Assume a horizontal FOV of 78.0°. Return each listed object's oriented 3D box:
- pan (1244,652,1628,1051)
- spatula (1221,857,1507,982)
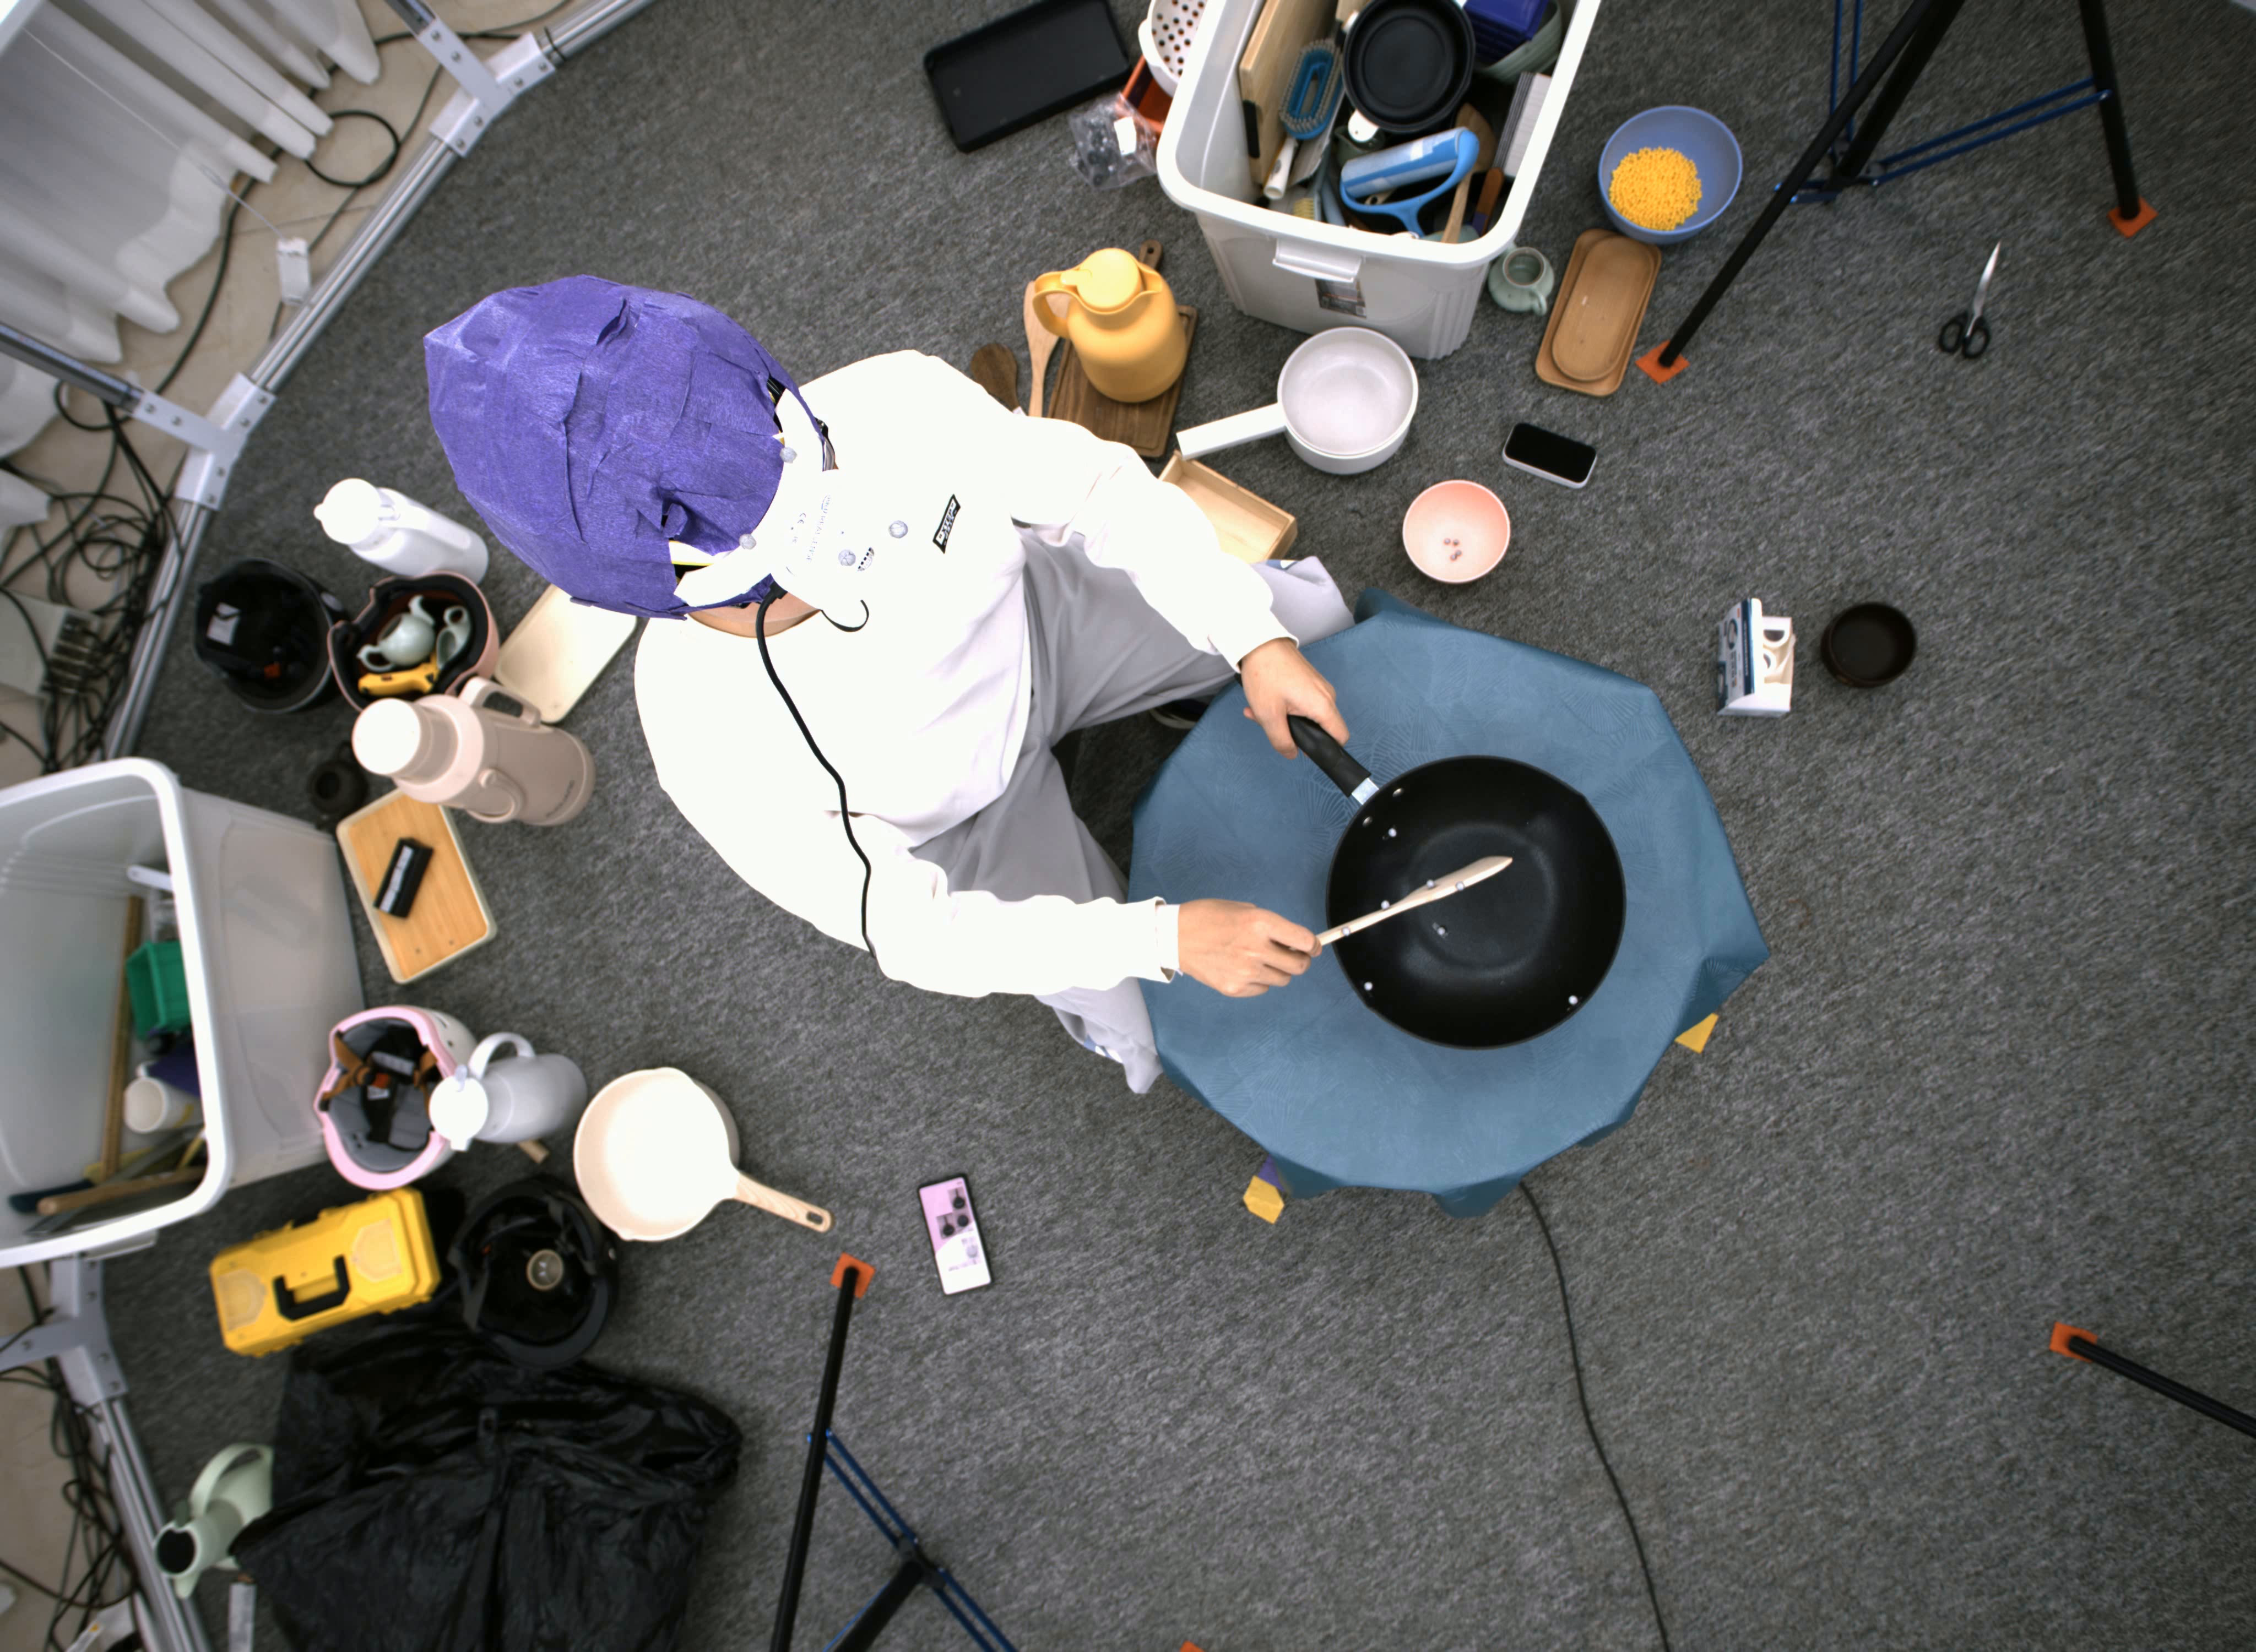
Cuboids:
[{"bbox_3d":[0.278,0.006,1.354,0.292,0.086,0.460,-46,77,17],"label":"pan"},{"bbox_3d":[0.223,0.088,1.315,0.292,0.072,0.010,-23,93,-5],"label":"spatula"}]
